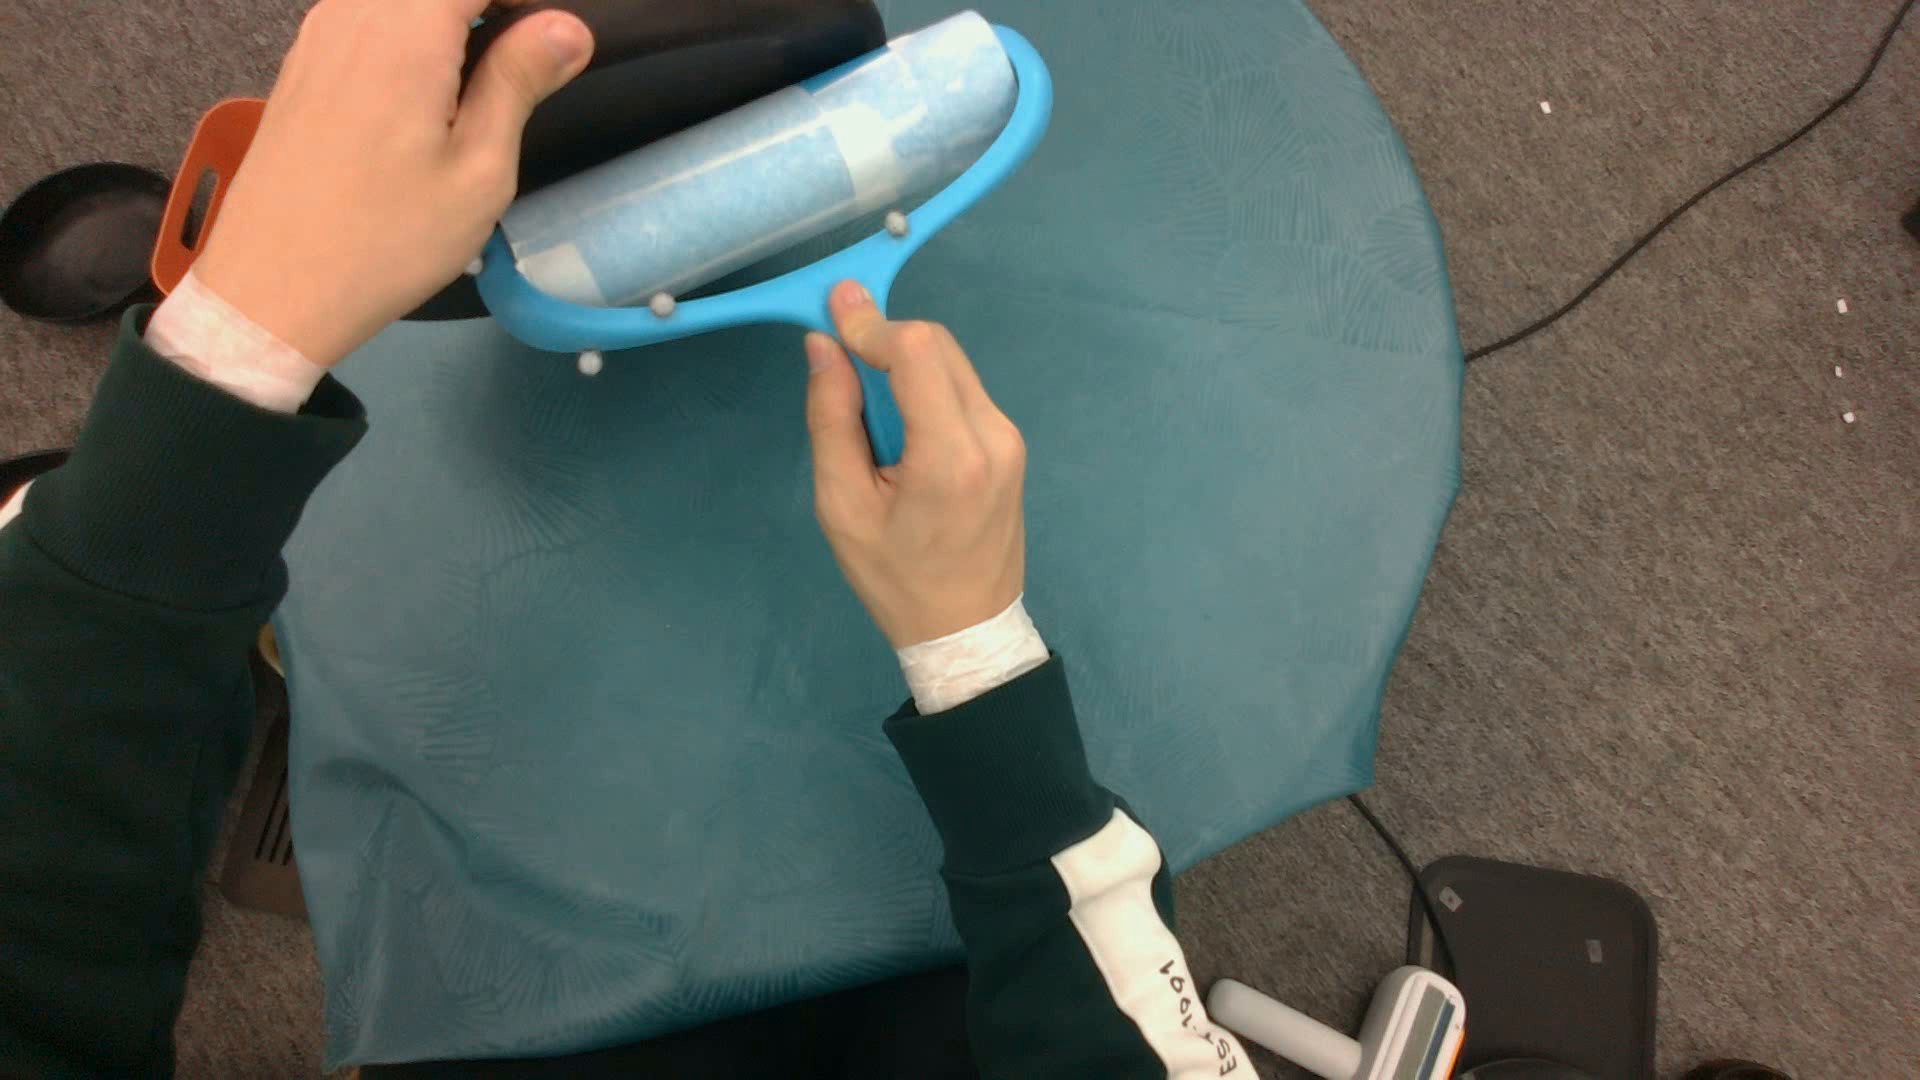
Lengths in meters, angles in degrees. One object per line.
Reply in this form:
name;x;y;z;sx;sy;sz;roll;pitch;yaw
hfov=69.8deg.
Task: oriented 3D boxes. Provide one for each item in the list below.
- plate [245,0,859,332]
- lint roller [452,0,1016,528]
plate;-0.153;-0.148;0.554;0.255;0.254;0.029;-27;88;-10
lint roller;-0.053;-0.089;0.520;0.229;0.068;0.180;-31;87;-11
